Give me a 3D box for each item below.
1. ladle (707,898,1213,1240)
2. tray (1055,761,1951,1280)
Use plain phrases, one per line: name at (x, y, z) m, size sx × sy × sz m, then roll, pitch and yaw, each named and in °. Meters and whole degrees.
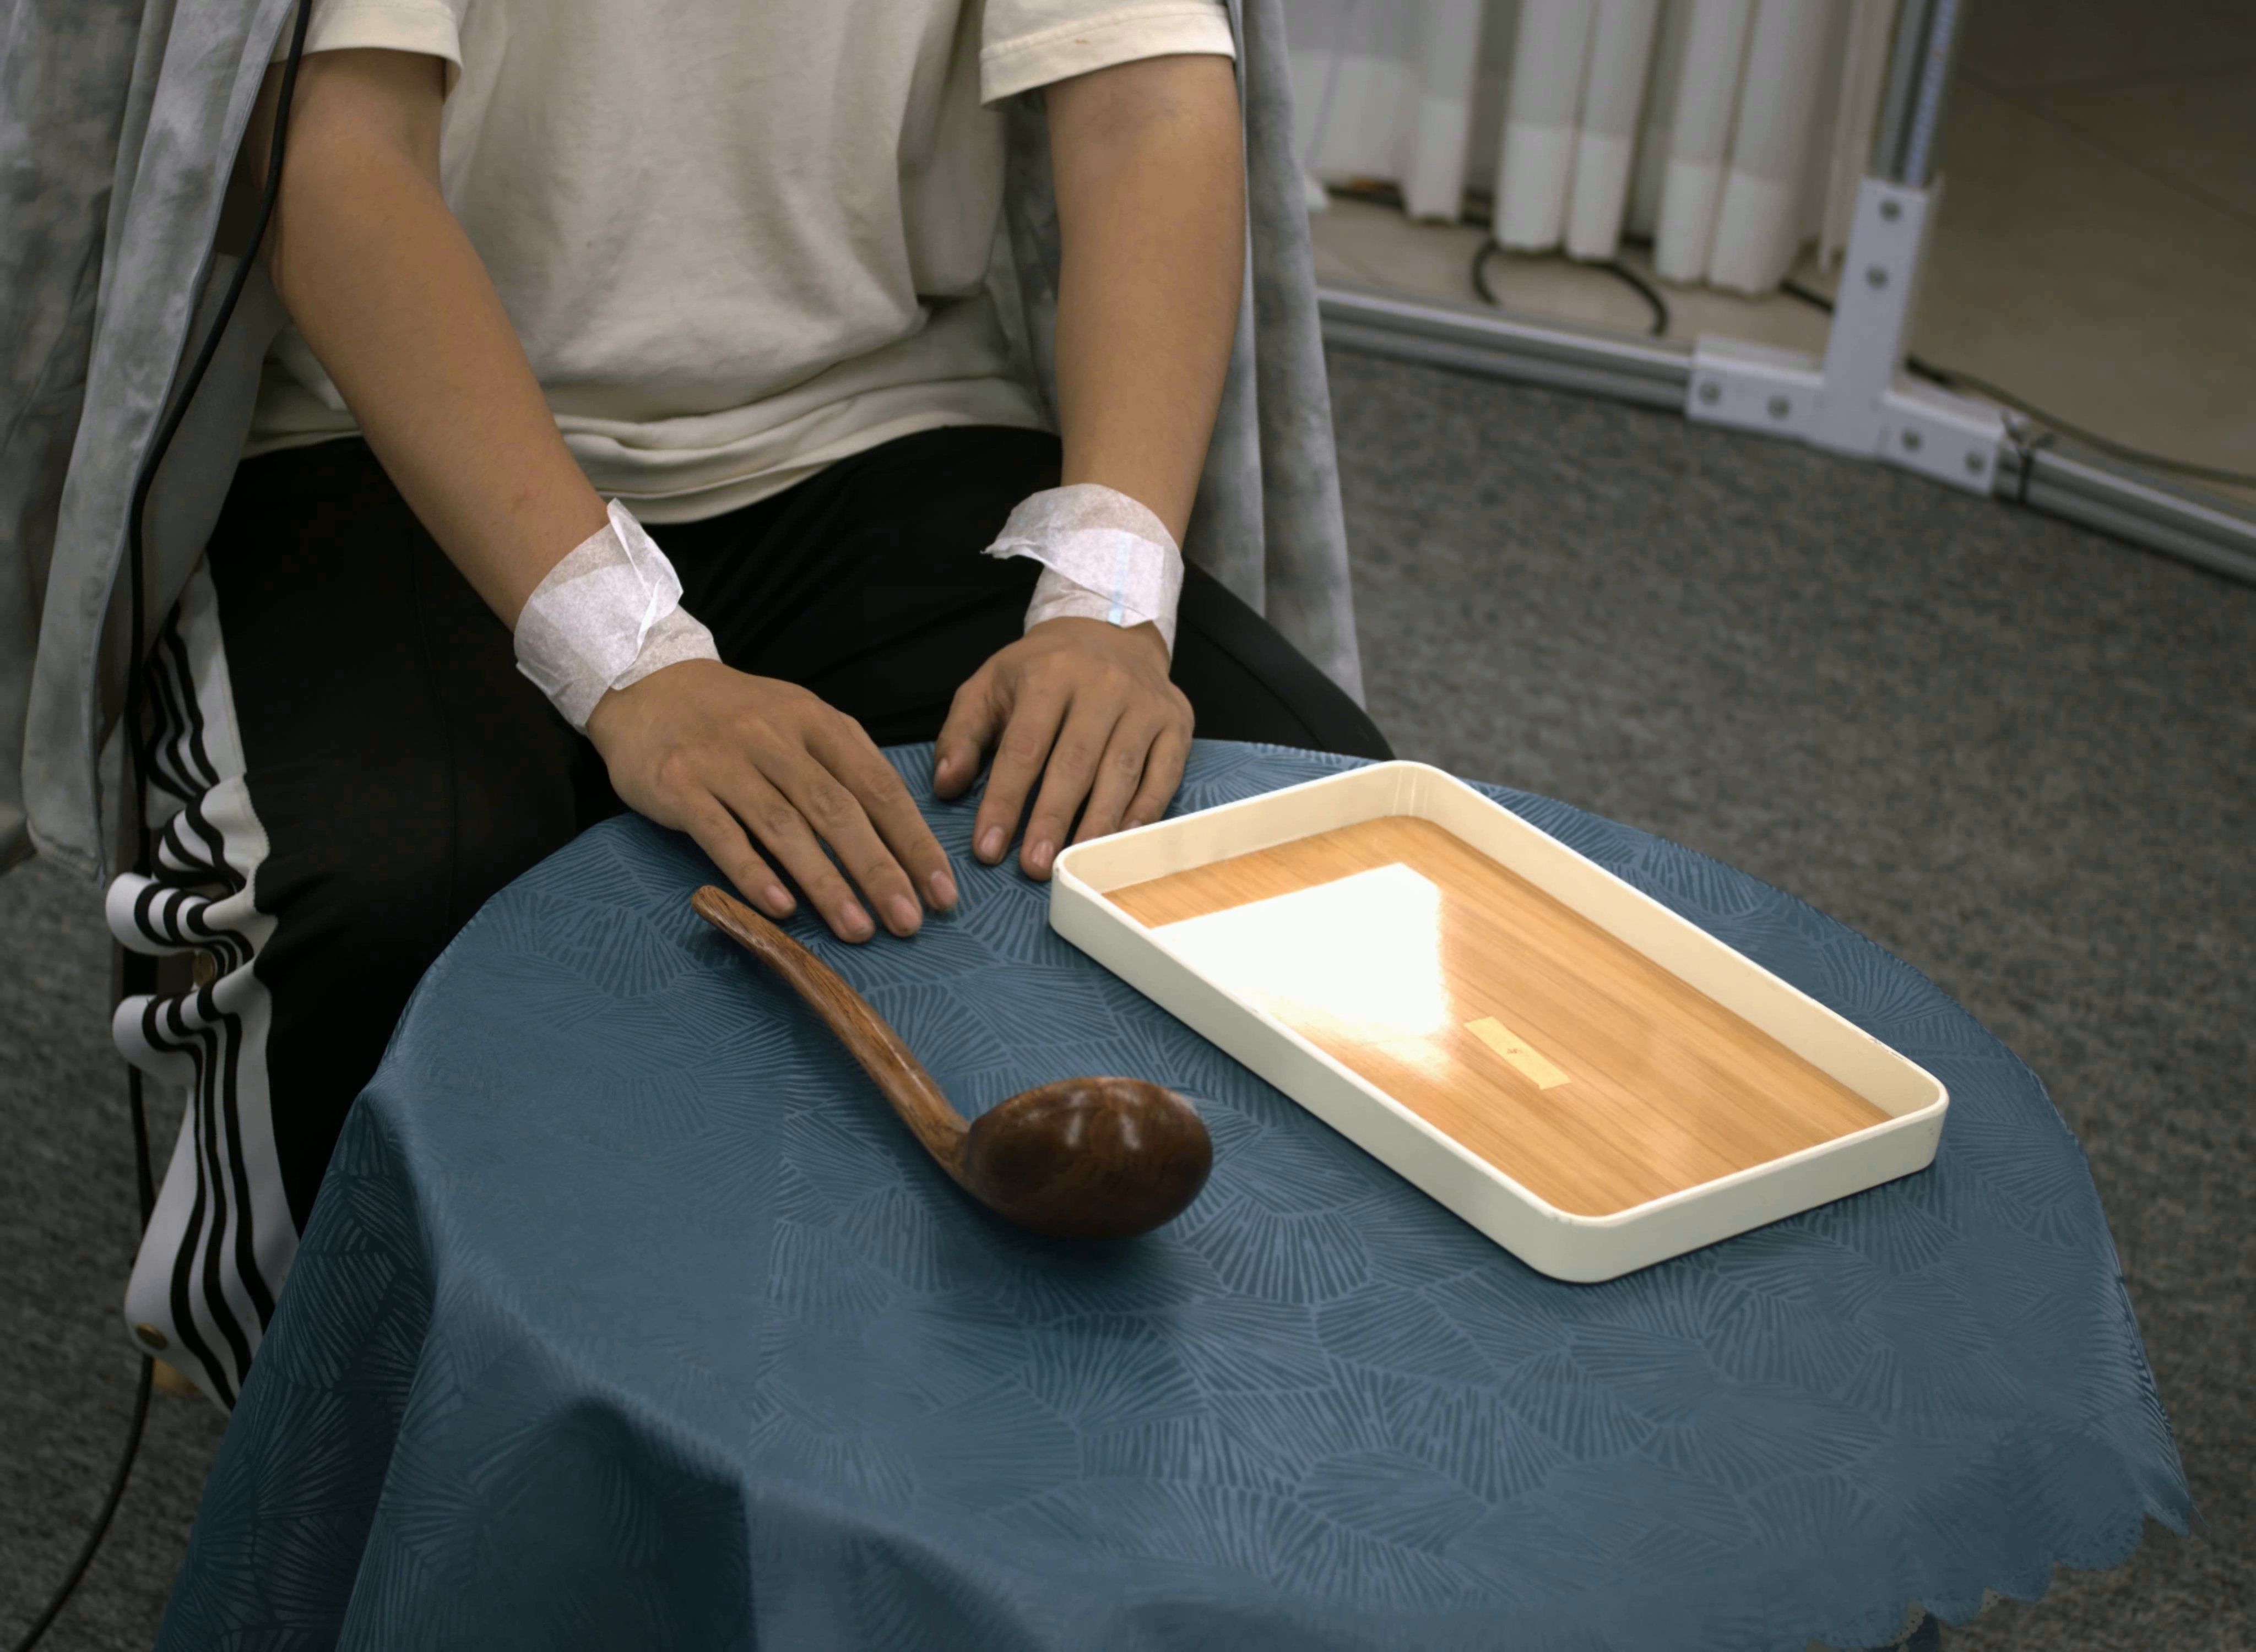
ladle at (-0.064, 0.064, 1.831) m, size 0.081 × 0.076 × 0.276 m, roll 39°, pitch 2°, yaw -39°
tray at (0.131, 0.065, 1.921) m, size 0.190 × 0.027 × 0.303 m, roll -15°, pitch 34°, yaw -36°
